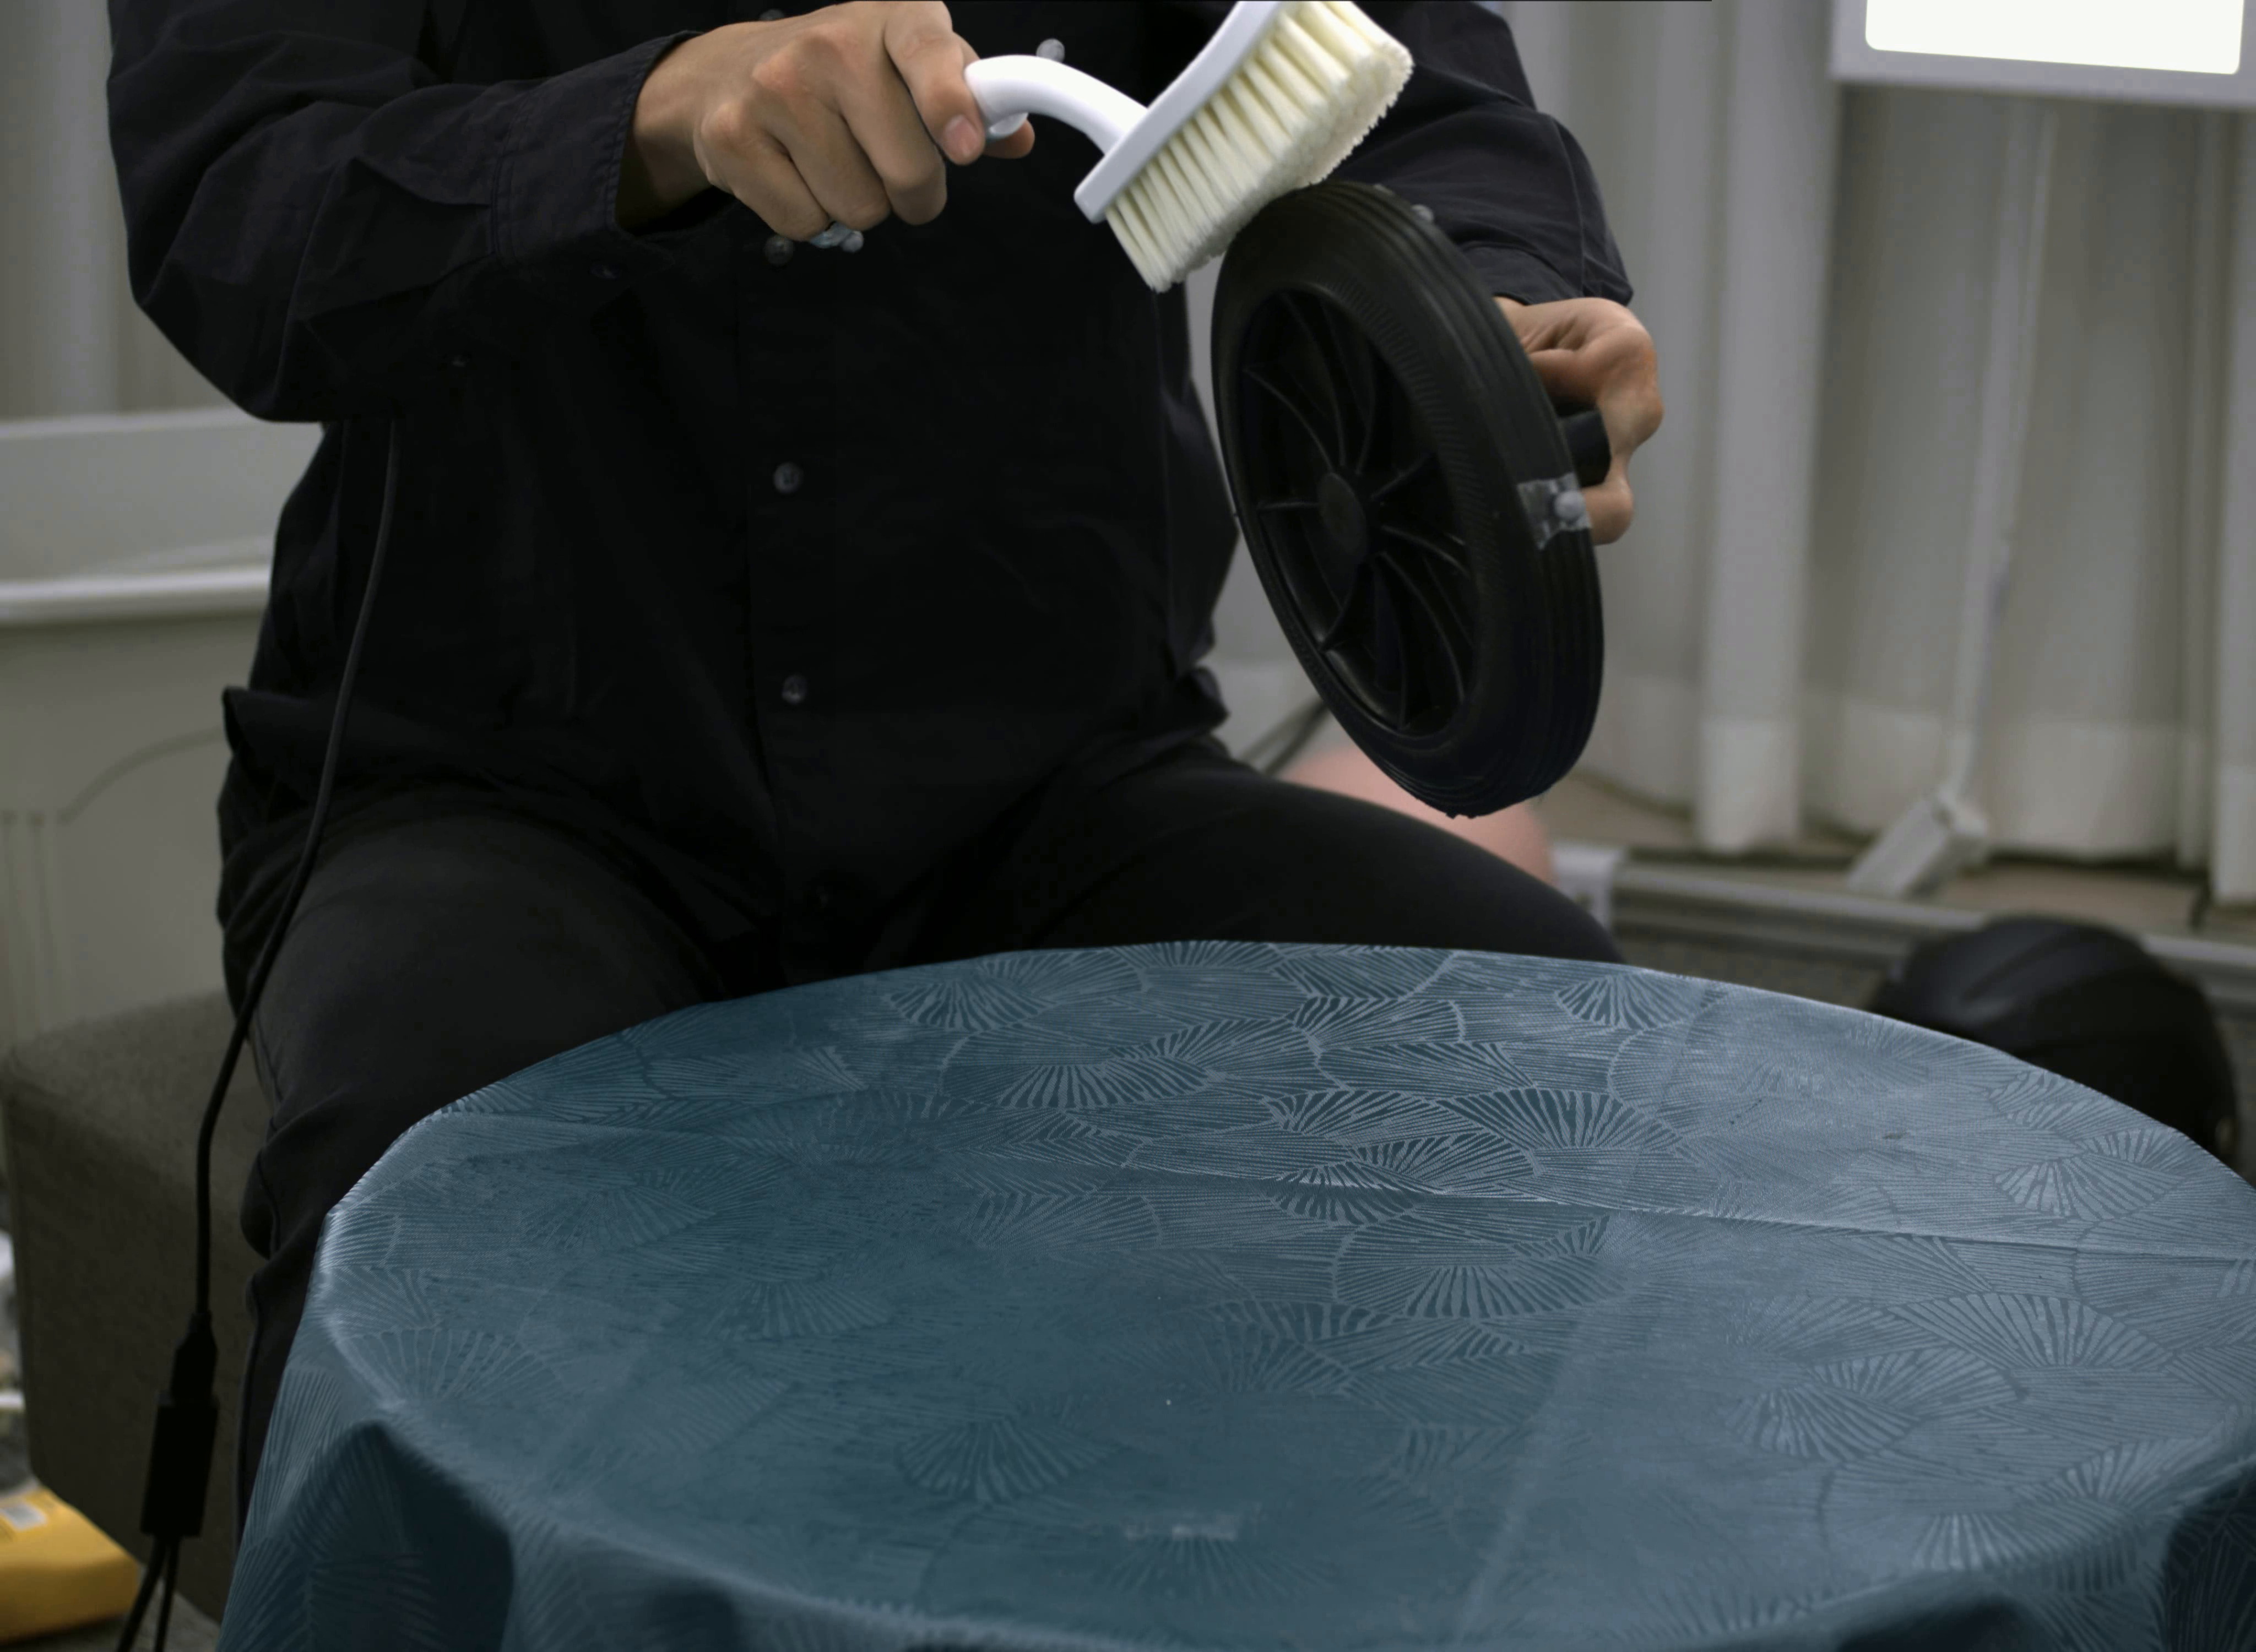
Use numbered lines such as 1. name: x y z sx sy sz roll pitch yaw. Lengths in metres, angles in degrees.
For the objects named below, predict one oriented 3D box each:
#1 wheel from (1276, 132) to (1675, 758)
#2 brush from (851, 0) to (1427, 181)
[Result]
1. wheel: 0.118 -0.119 1.558 0.079 0.190 0.187 -23 44 -22
2. brush: 0.009 -0.224 1.605 0.083 0.084 0.323 6 -9 -27
